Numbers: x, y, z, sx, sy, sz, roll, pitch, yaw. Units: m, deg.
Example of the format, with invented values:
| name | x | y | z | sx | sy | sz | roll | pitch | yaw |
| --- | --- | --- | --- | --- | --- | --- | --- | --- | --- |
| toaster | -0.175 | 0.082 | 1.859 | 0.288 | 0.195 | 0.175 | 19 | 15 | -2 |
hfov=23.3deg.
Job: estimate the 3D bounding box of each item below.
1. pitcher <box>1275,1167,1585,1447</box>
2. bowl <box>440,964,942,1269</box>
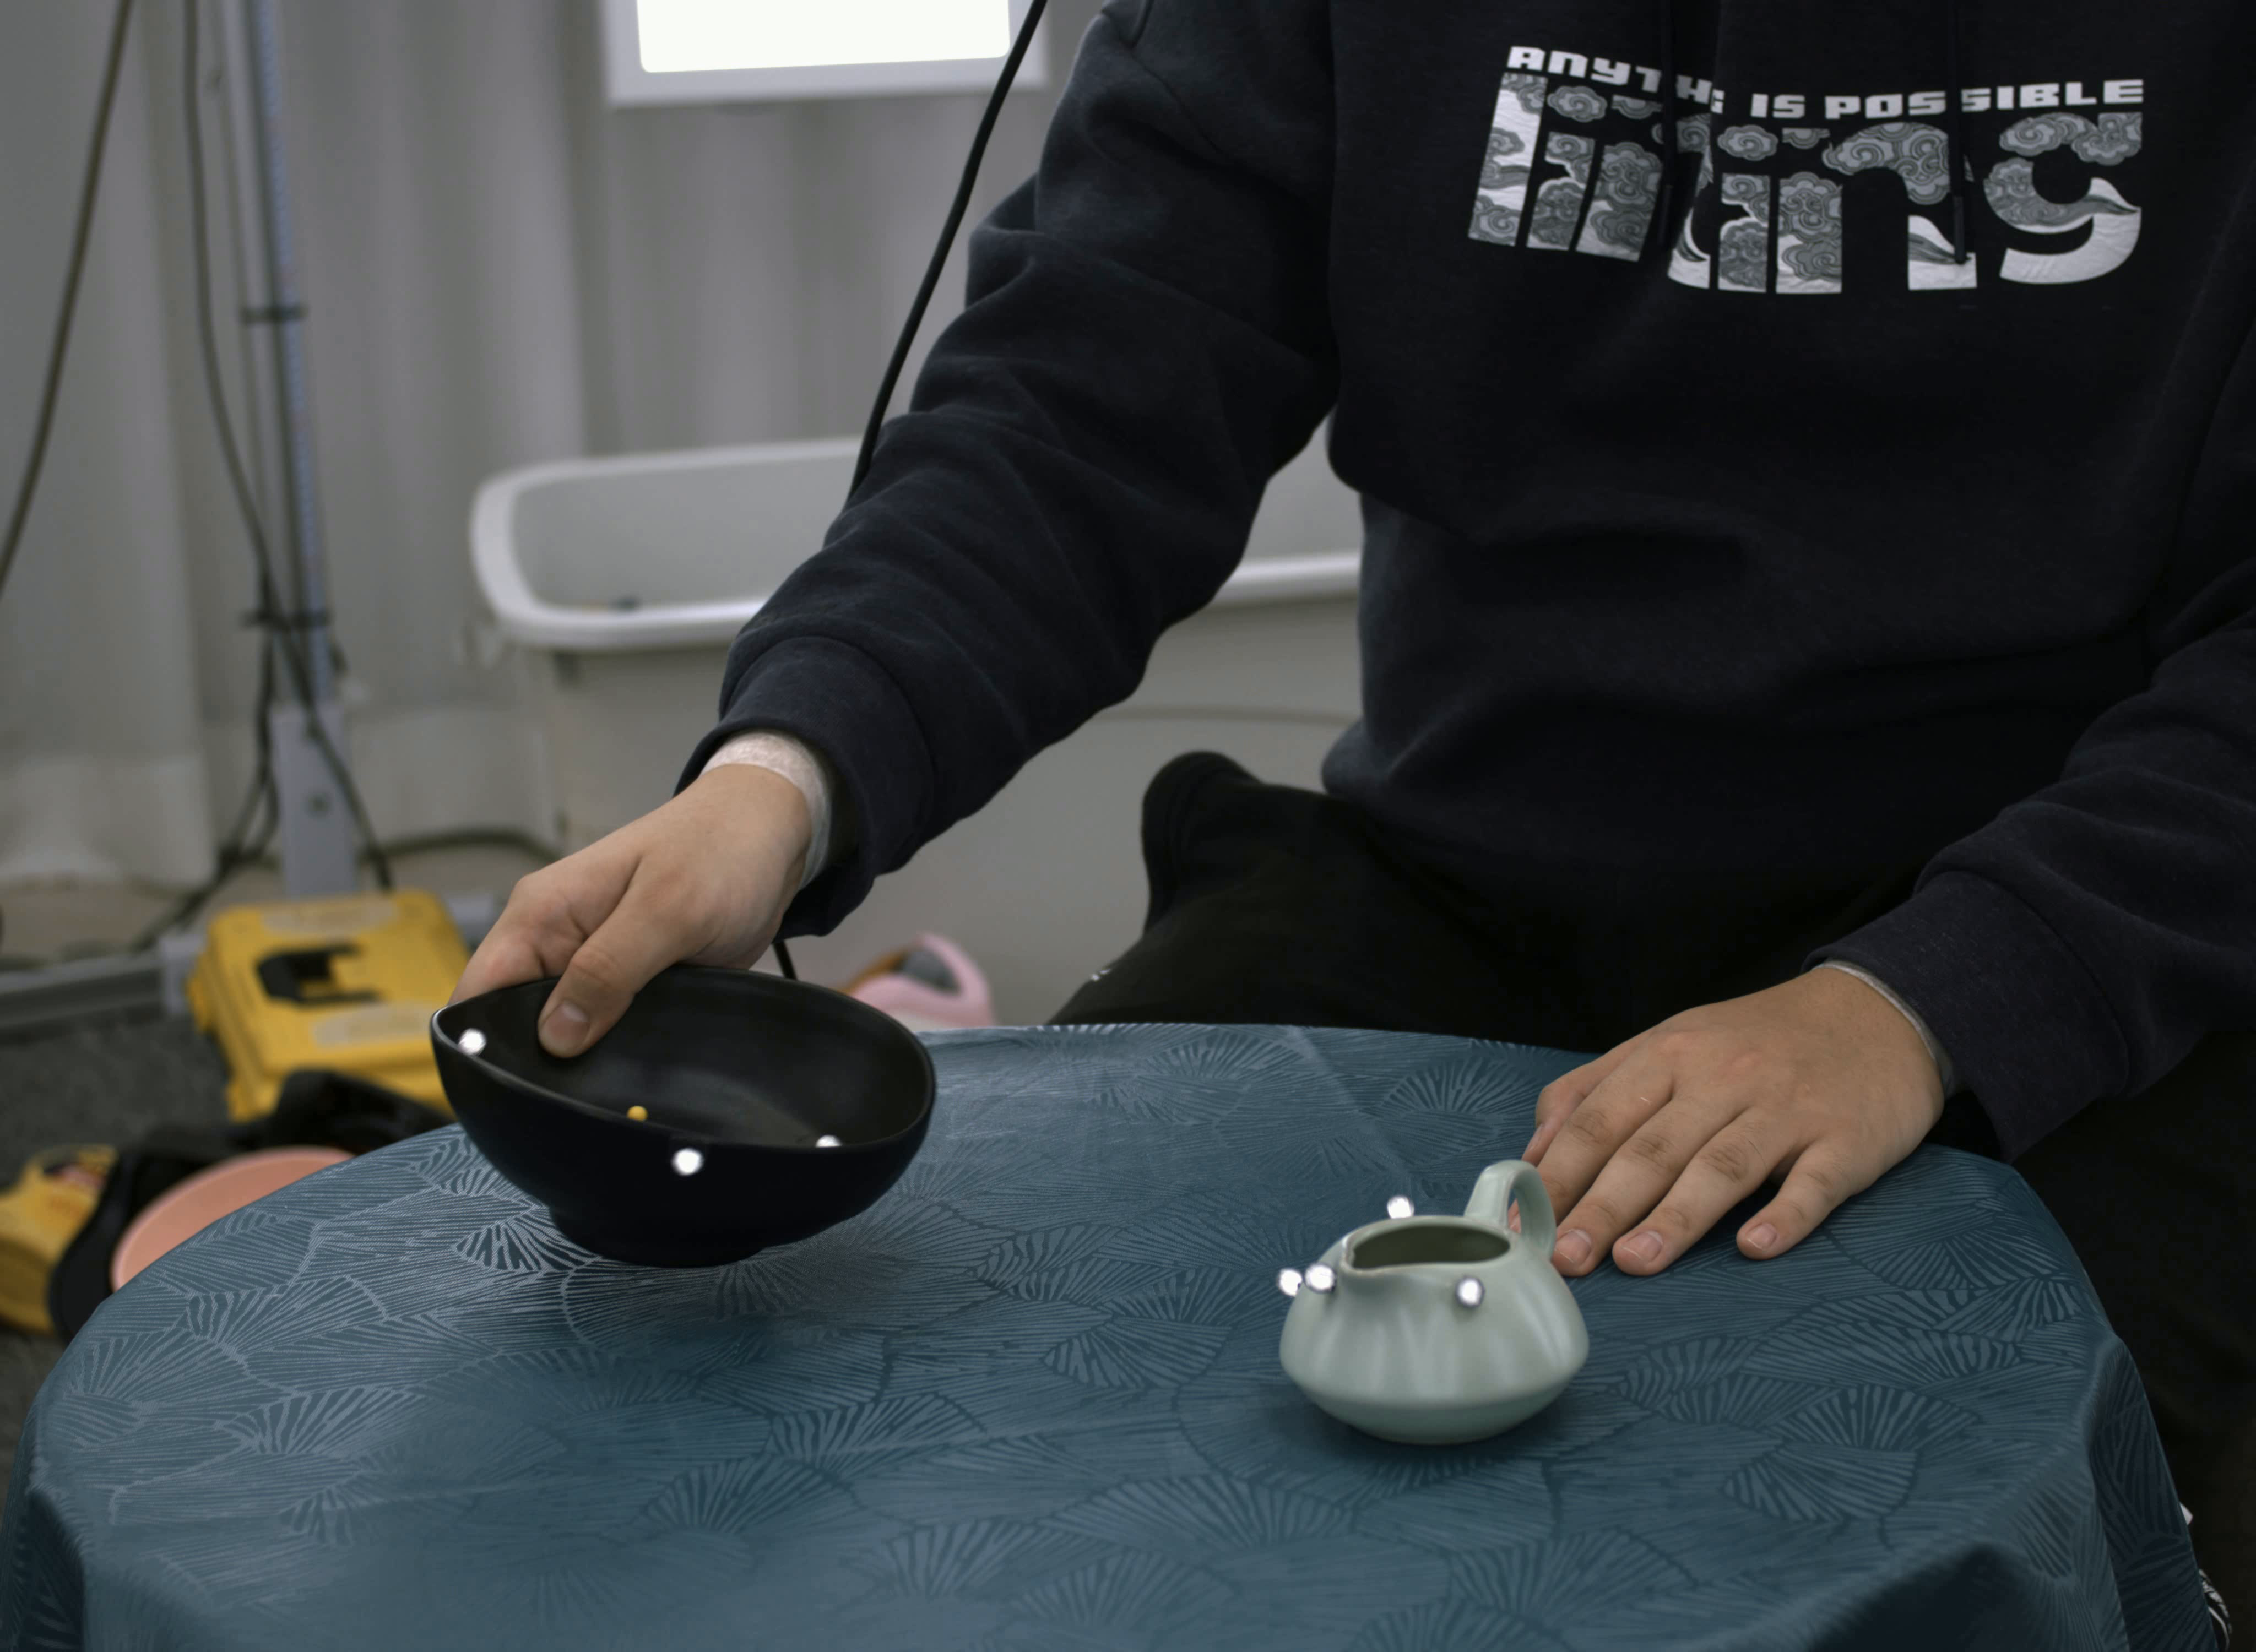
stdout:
| name | x | y | z | sx | sy | sz | roll | pitch | yaw |
| --- | --- | --- | --- | --- | --- | --- | --- | --- | --- |
| pitcher | 0.089 | 0.134 | 1.522 | 0.086 | 0.060 | 0.108 | 7 | 15 | 29 |
| bowl | -0.136 | 0.093 | 1.654 | 0.171 | 0.066 | 0.137 | 19 | 22 | 36 |
